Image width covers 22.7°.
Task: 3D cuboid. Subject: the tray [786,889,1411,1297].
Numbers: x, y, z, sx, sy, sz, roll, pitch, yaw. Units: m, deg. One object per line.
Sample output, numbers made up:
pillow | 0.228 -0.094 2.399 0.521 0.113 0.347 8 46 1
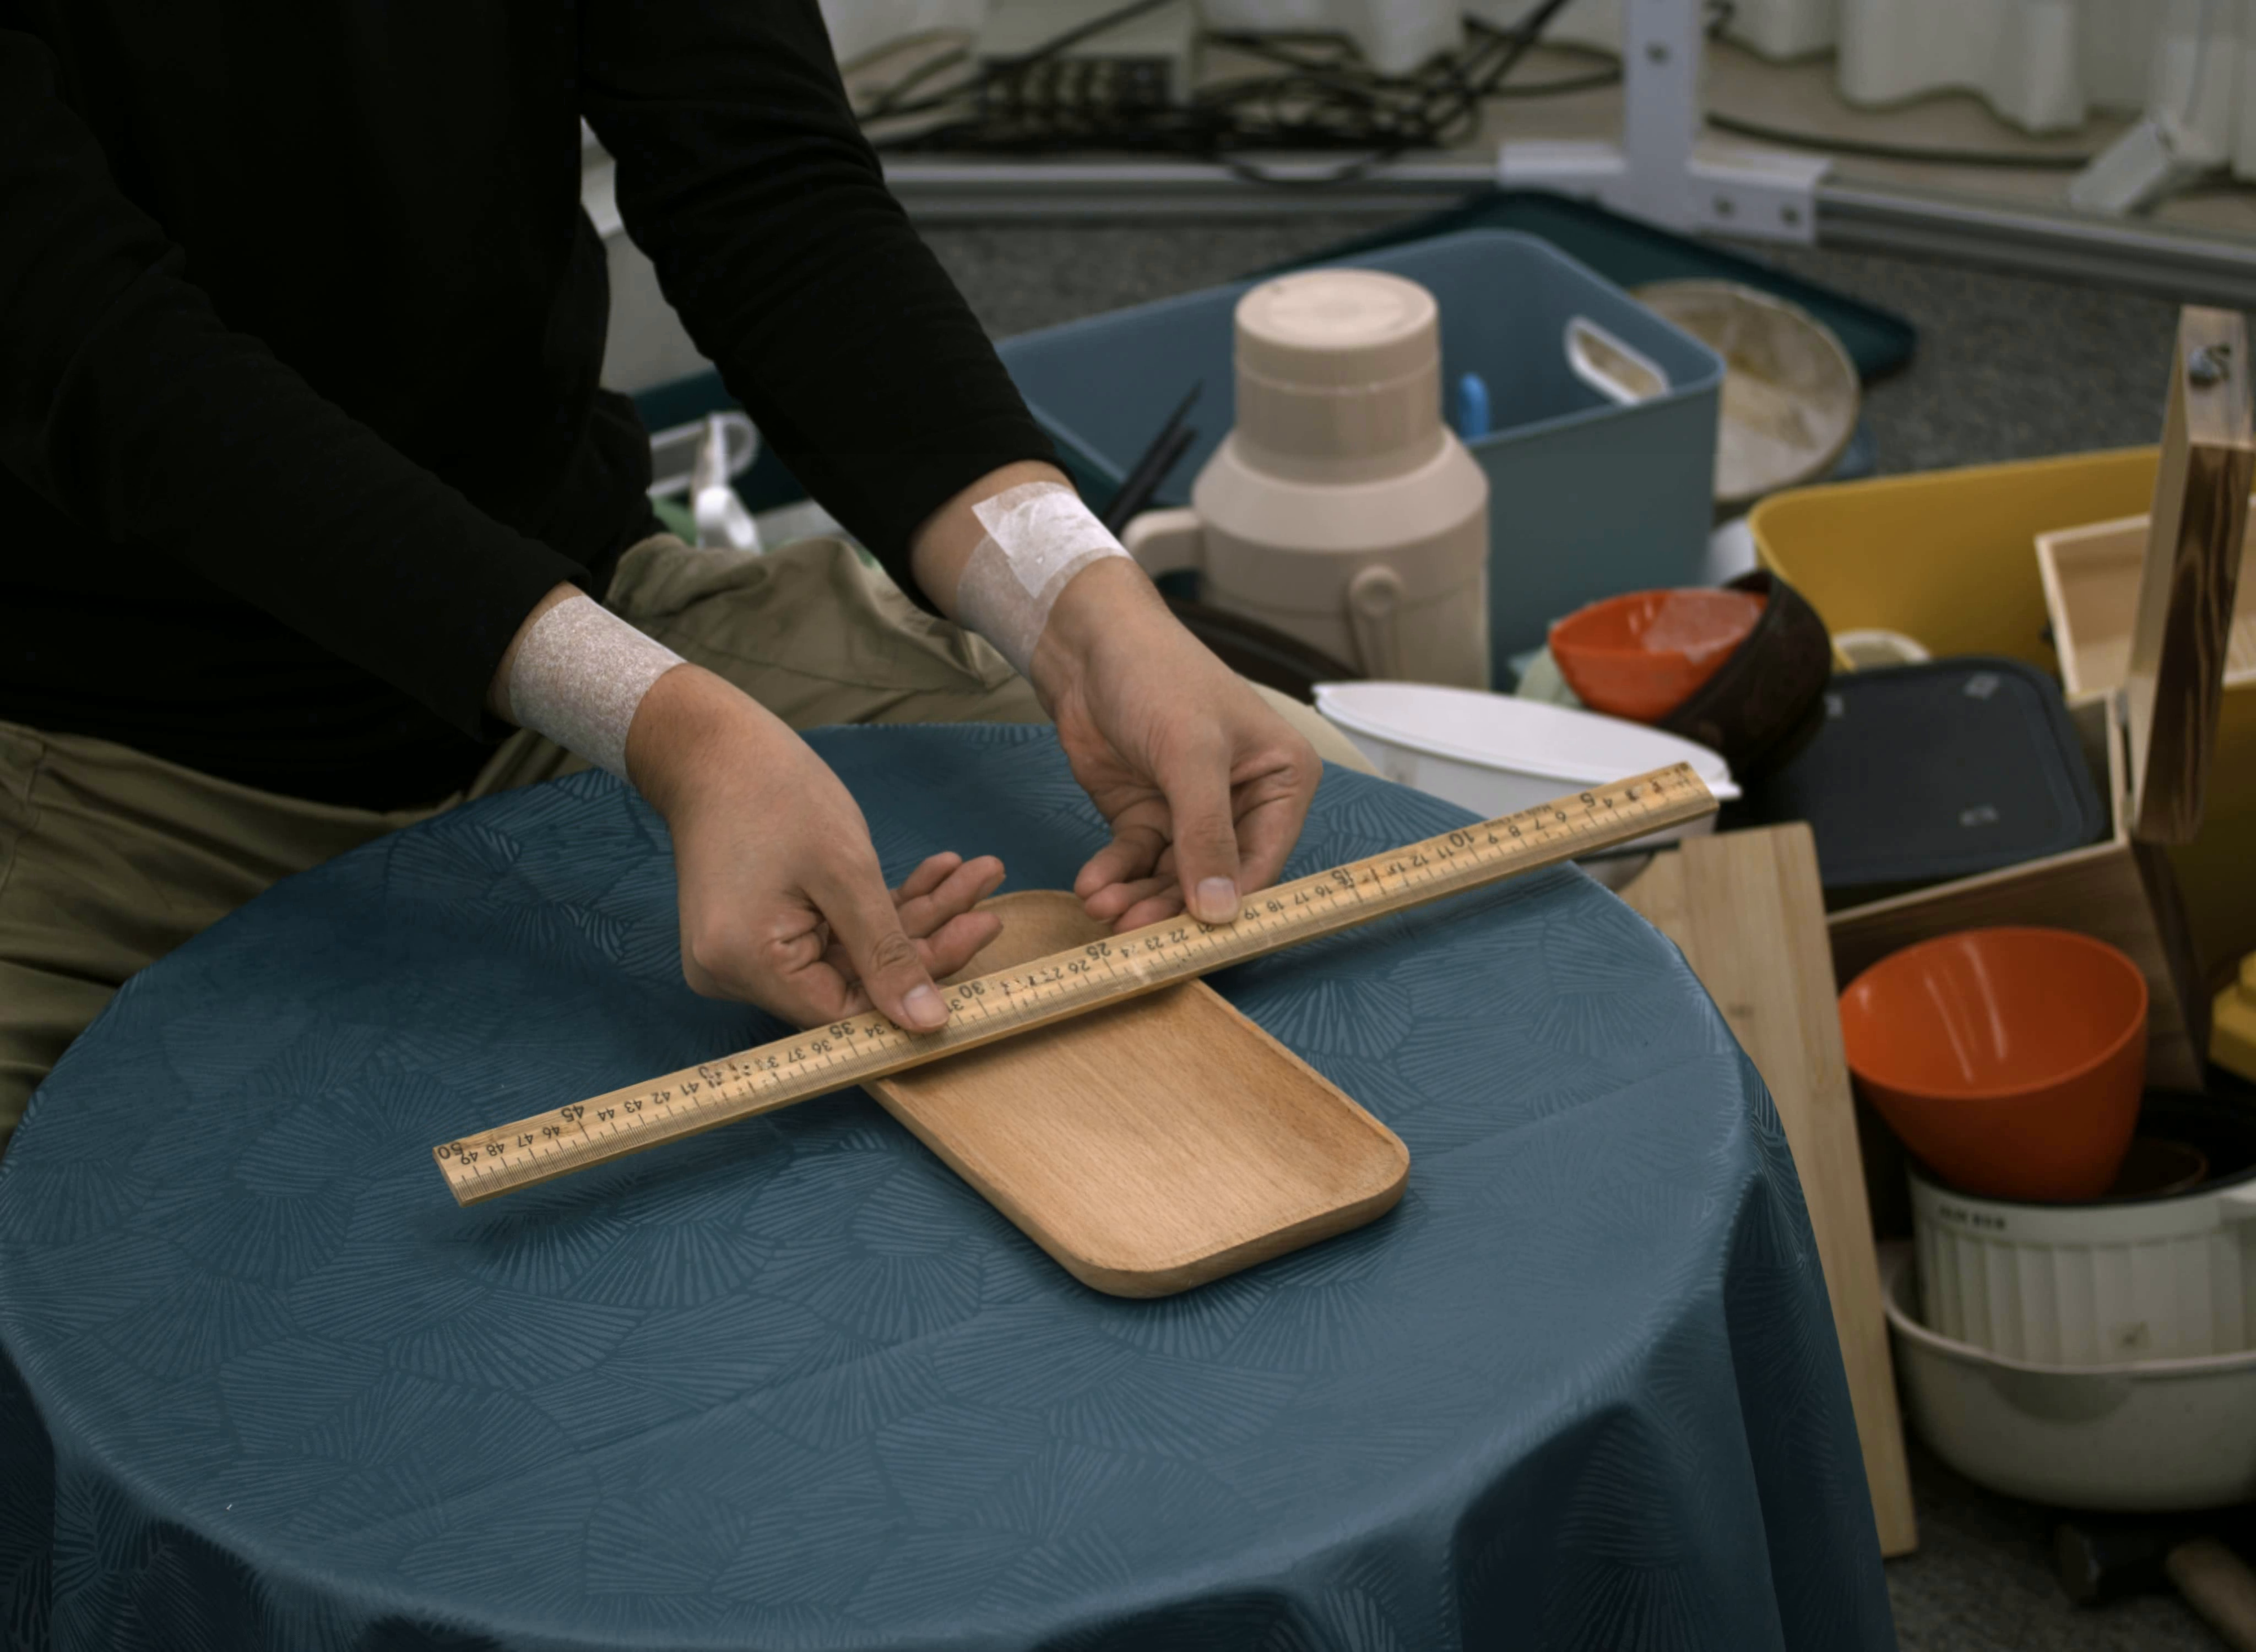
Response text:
tray | -0.013 0.088 1.910 0.131 0.022 0.252 -15 28 -25

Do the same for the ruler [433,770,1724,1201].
ruler | -0.007 0.051 1.952 0.503 0.006 0.027 -16 51 -25
